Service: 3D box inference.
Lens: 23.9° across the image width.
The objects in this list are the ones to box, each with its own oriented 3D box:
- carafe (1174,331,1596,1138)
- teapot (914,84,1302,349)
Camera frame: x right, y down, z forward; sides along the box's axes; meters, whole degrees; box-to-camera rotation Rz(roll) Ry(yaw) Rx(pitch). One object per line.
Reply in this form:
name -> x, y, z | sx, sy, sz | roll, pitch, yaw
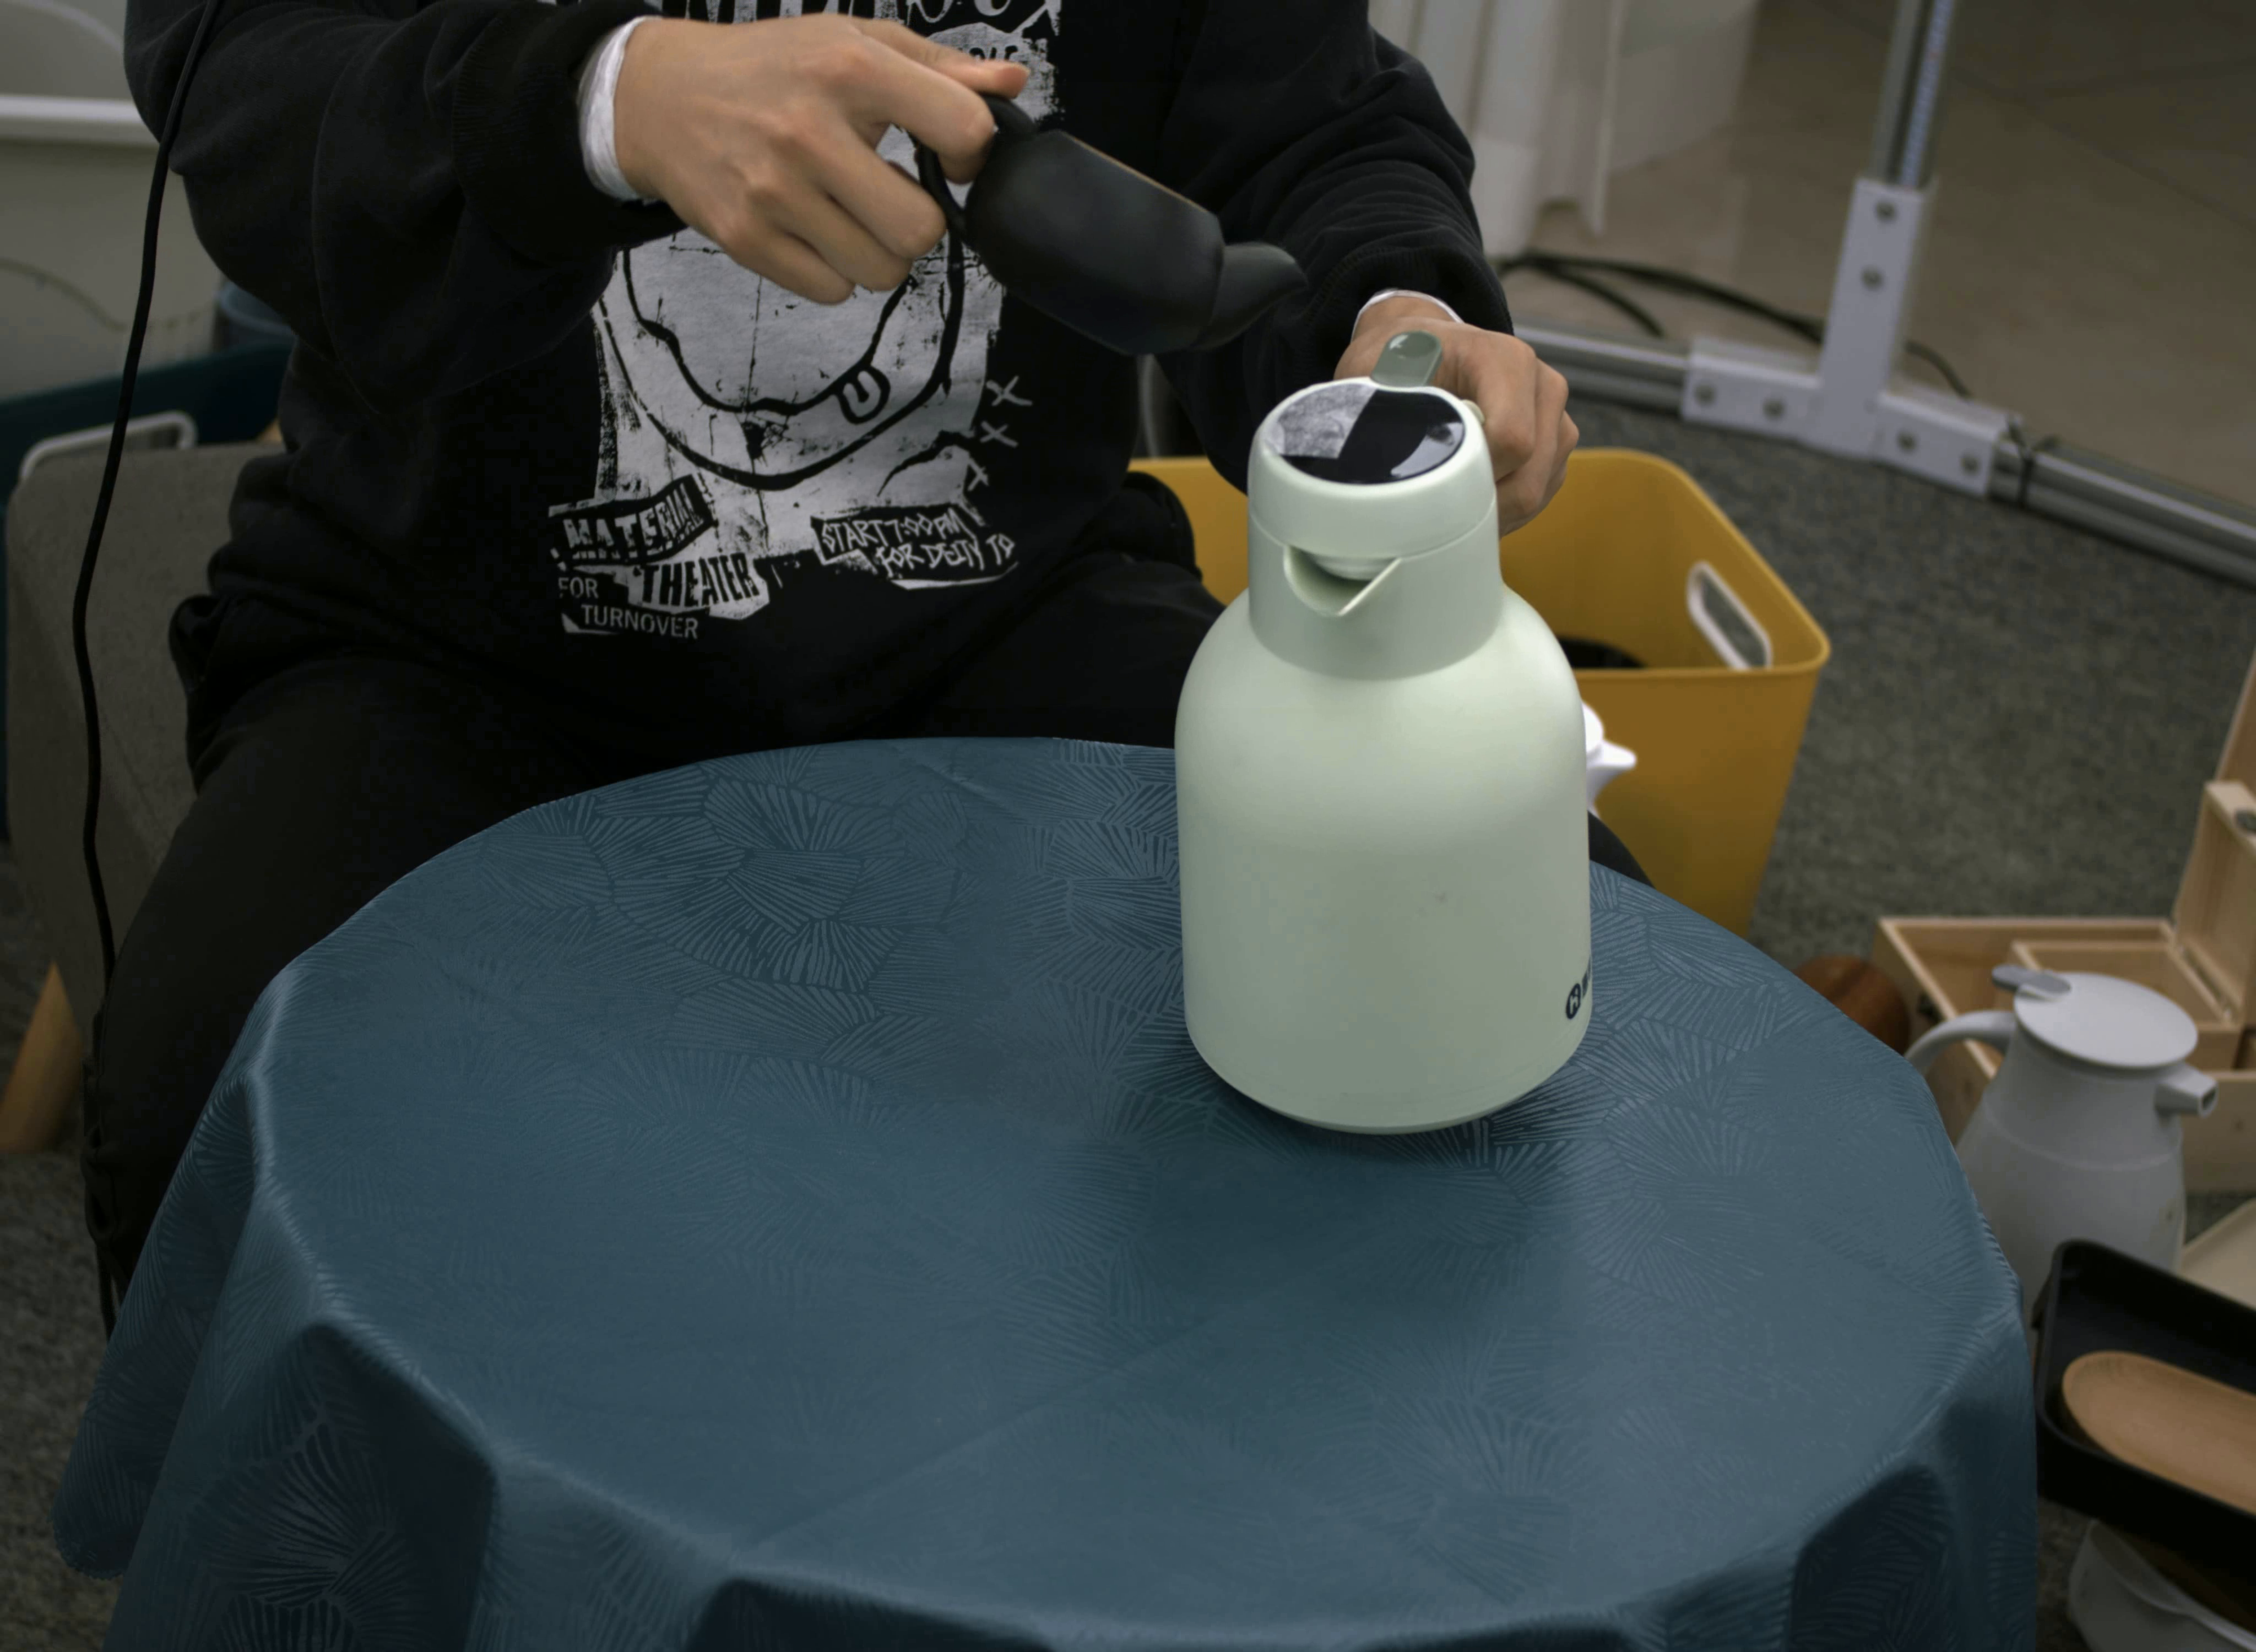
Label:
carafe -> 0.090, -0.037, 1.838 | 0.144, 0.255, 0.187 | 6, 33, 16
teapot -> -0.012, -0.190, 1.722 | 0.133, 0.053, 0.091 | 30, 6, -5
